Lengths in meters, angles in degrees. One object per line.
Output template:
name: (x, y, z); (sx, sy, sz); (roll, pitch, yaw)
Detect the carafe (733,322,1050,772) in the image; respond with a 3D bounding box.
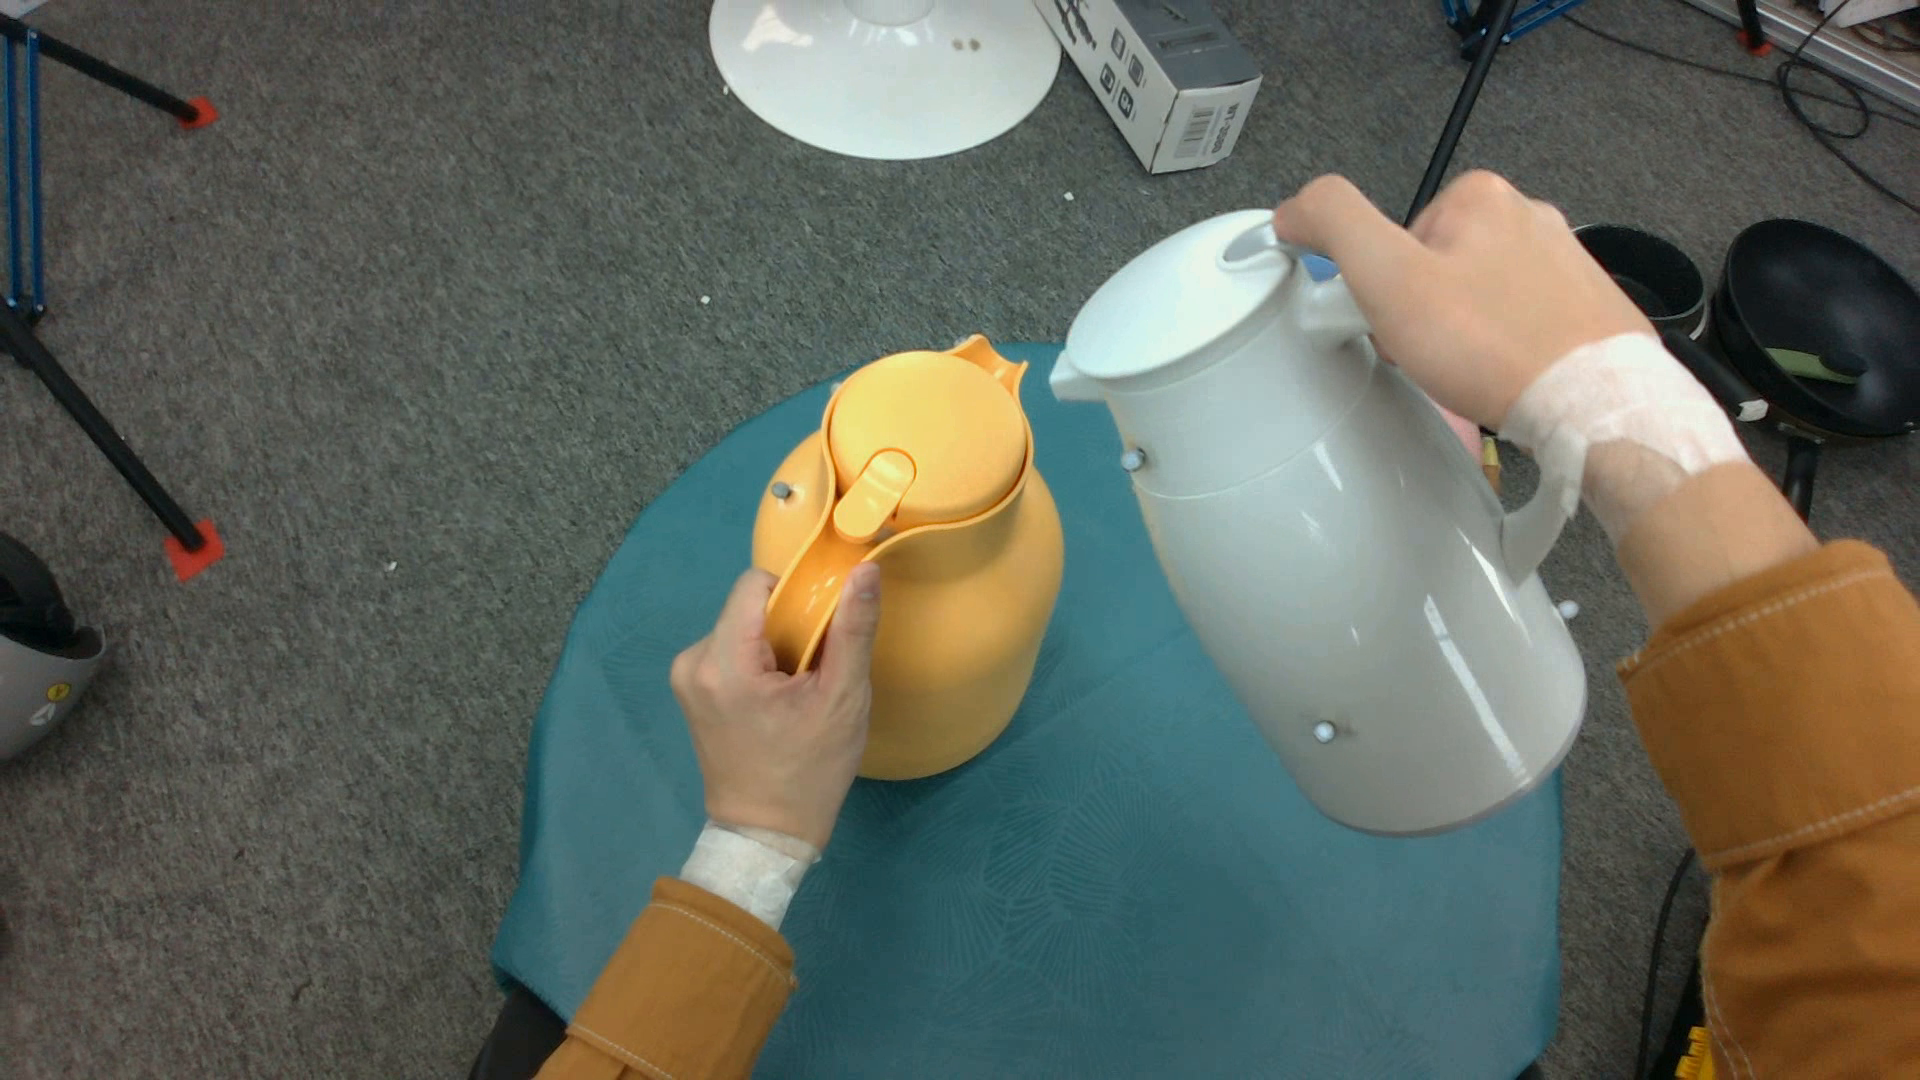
carafe: (-0.047, 0.019, 0.708); (0.163, 0.259, 0.203); (32, 59, 12)

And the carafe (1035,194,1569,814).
carafe: (0.150, -0.022, 0.541); (0.167, 0.248, 0.133); (-16, 36, 34)
